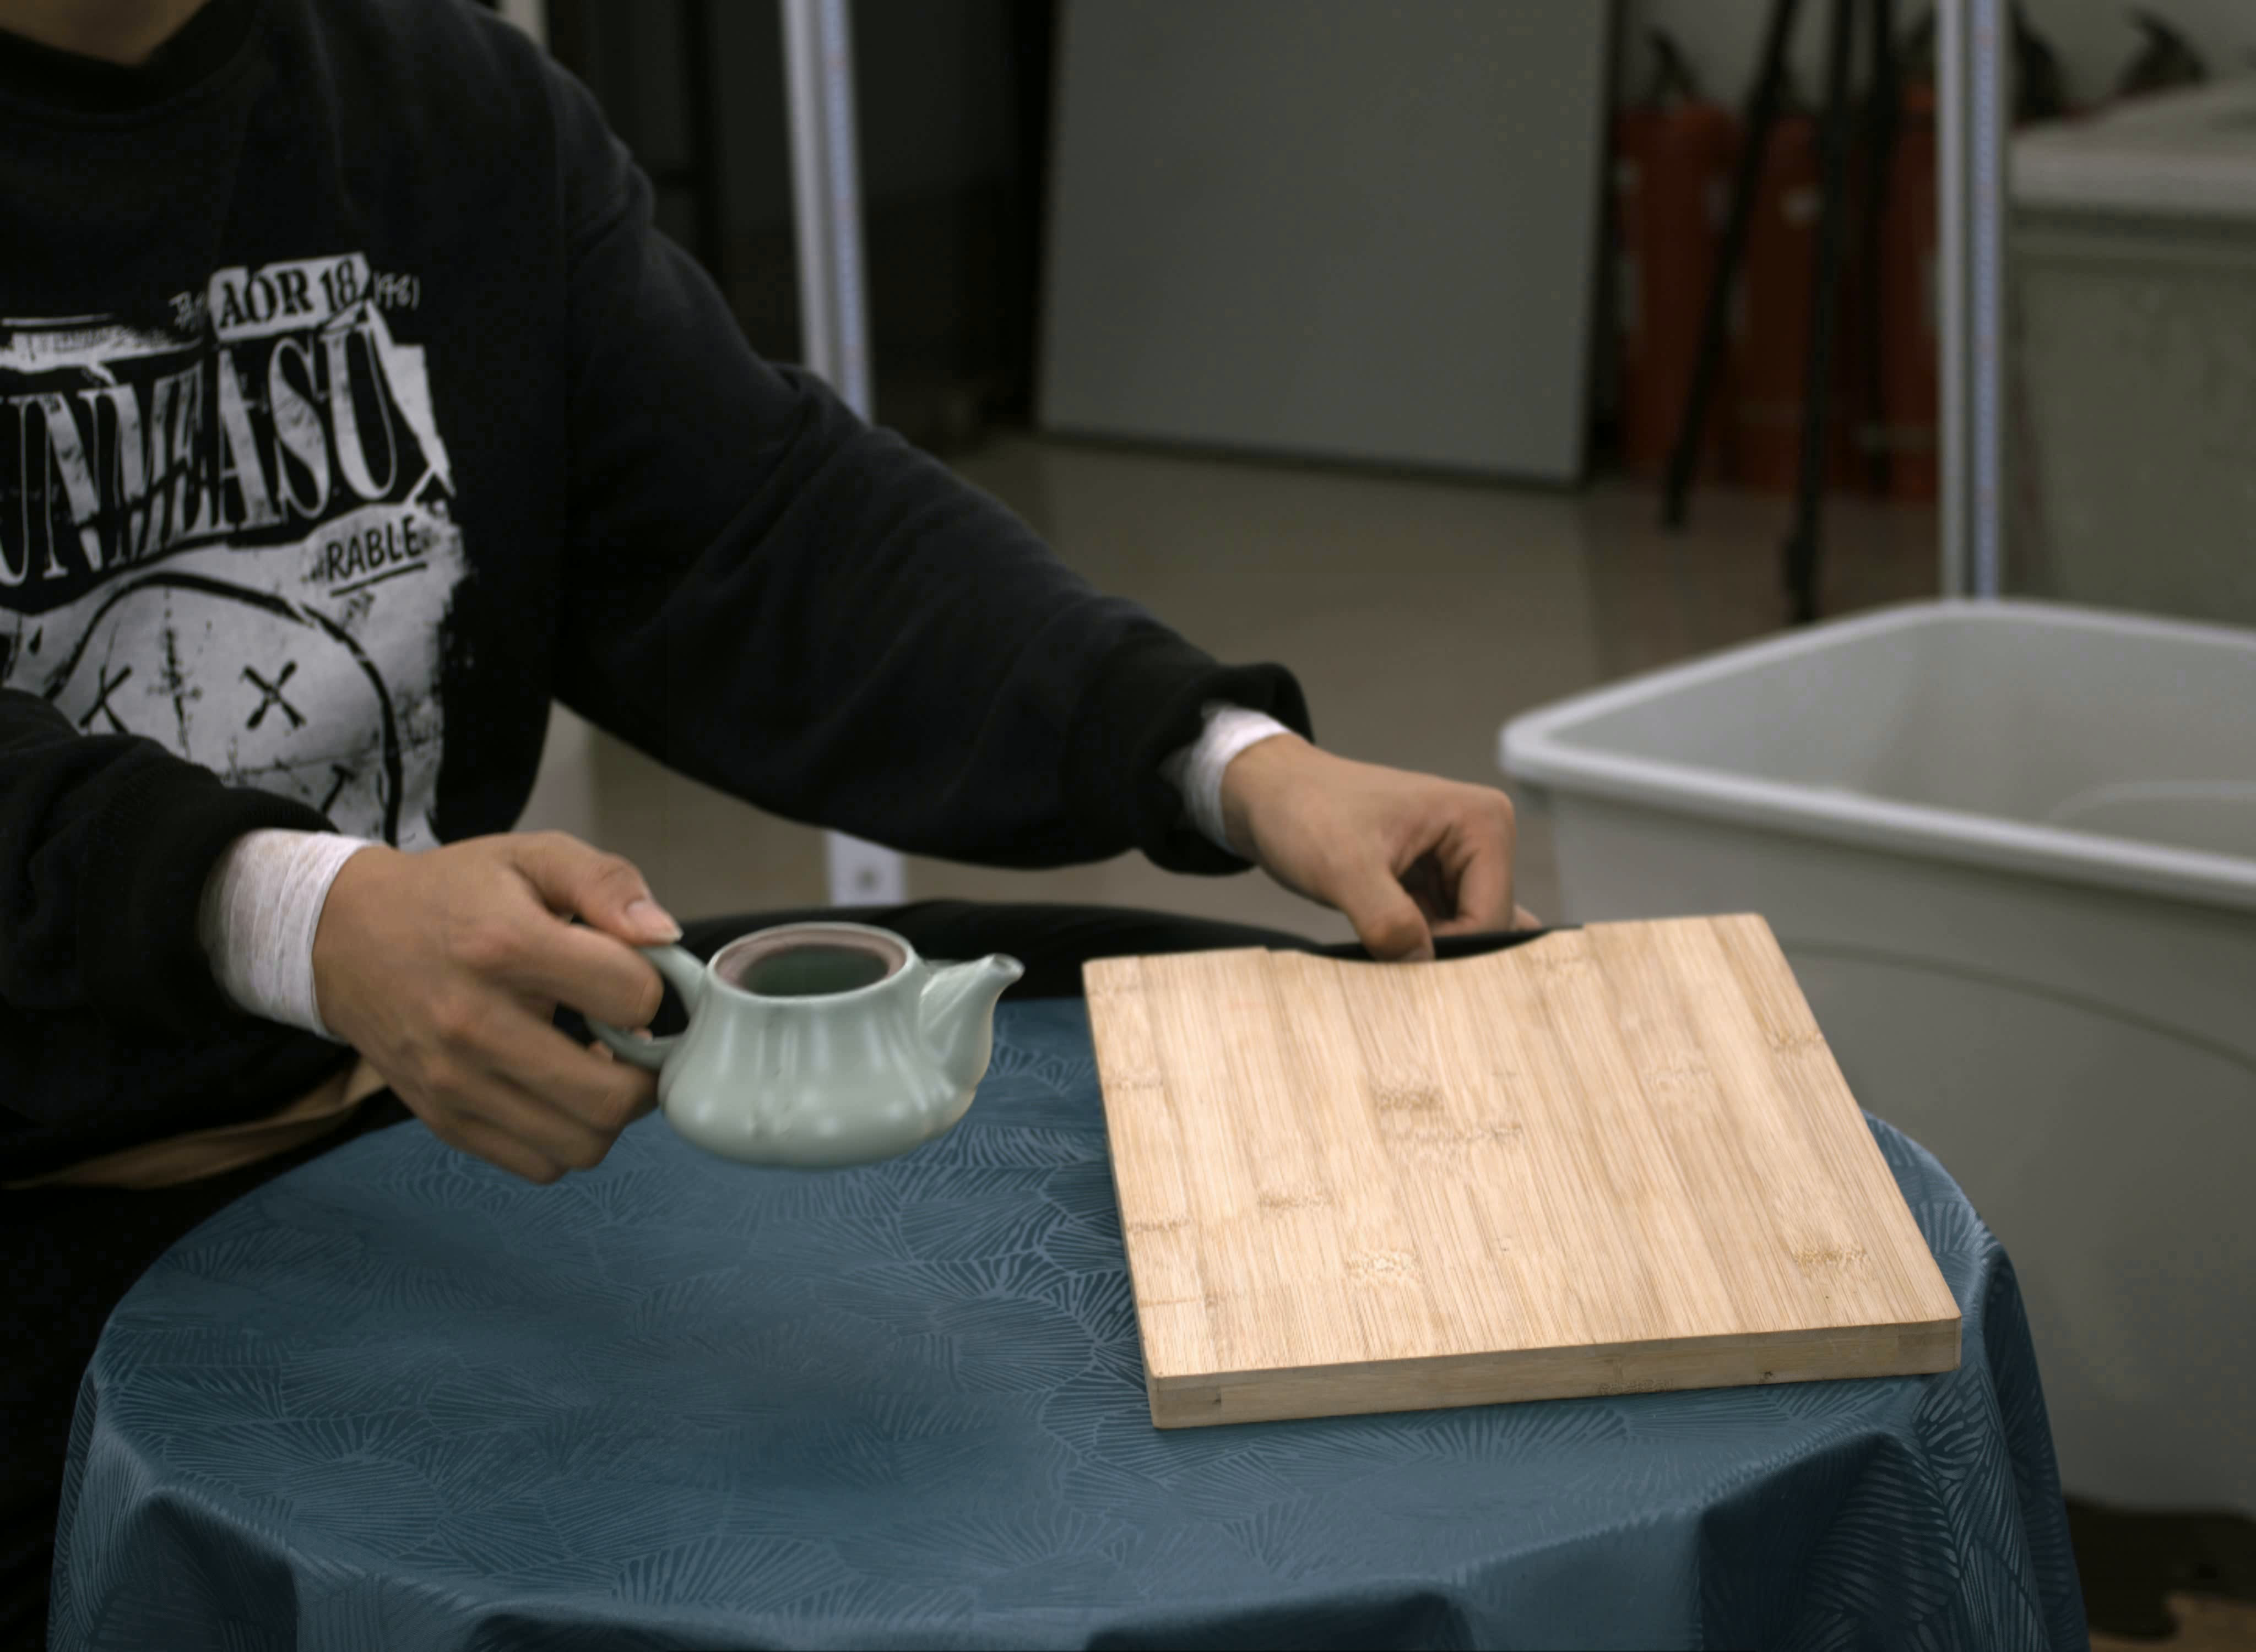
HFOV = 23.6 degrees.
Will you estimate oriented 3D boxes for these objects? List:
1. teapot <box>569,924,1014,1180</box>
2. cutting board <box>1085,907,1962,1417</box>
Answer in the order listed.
[{"bbox_3d":[-0.099,0.066,1.598,0.136,0.062,0.096,1,22,12],"label":"teapot"},{"bbox_3d":[0.114,0.102,1.720,0.247,0.024,0.350,-5,19,-3],"label":"cutting board"}]
